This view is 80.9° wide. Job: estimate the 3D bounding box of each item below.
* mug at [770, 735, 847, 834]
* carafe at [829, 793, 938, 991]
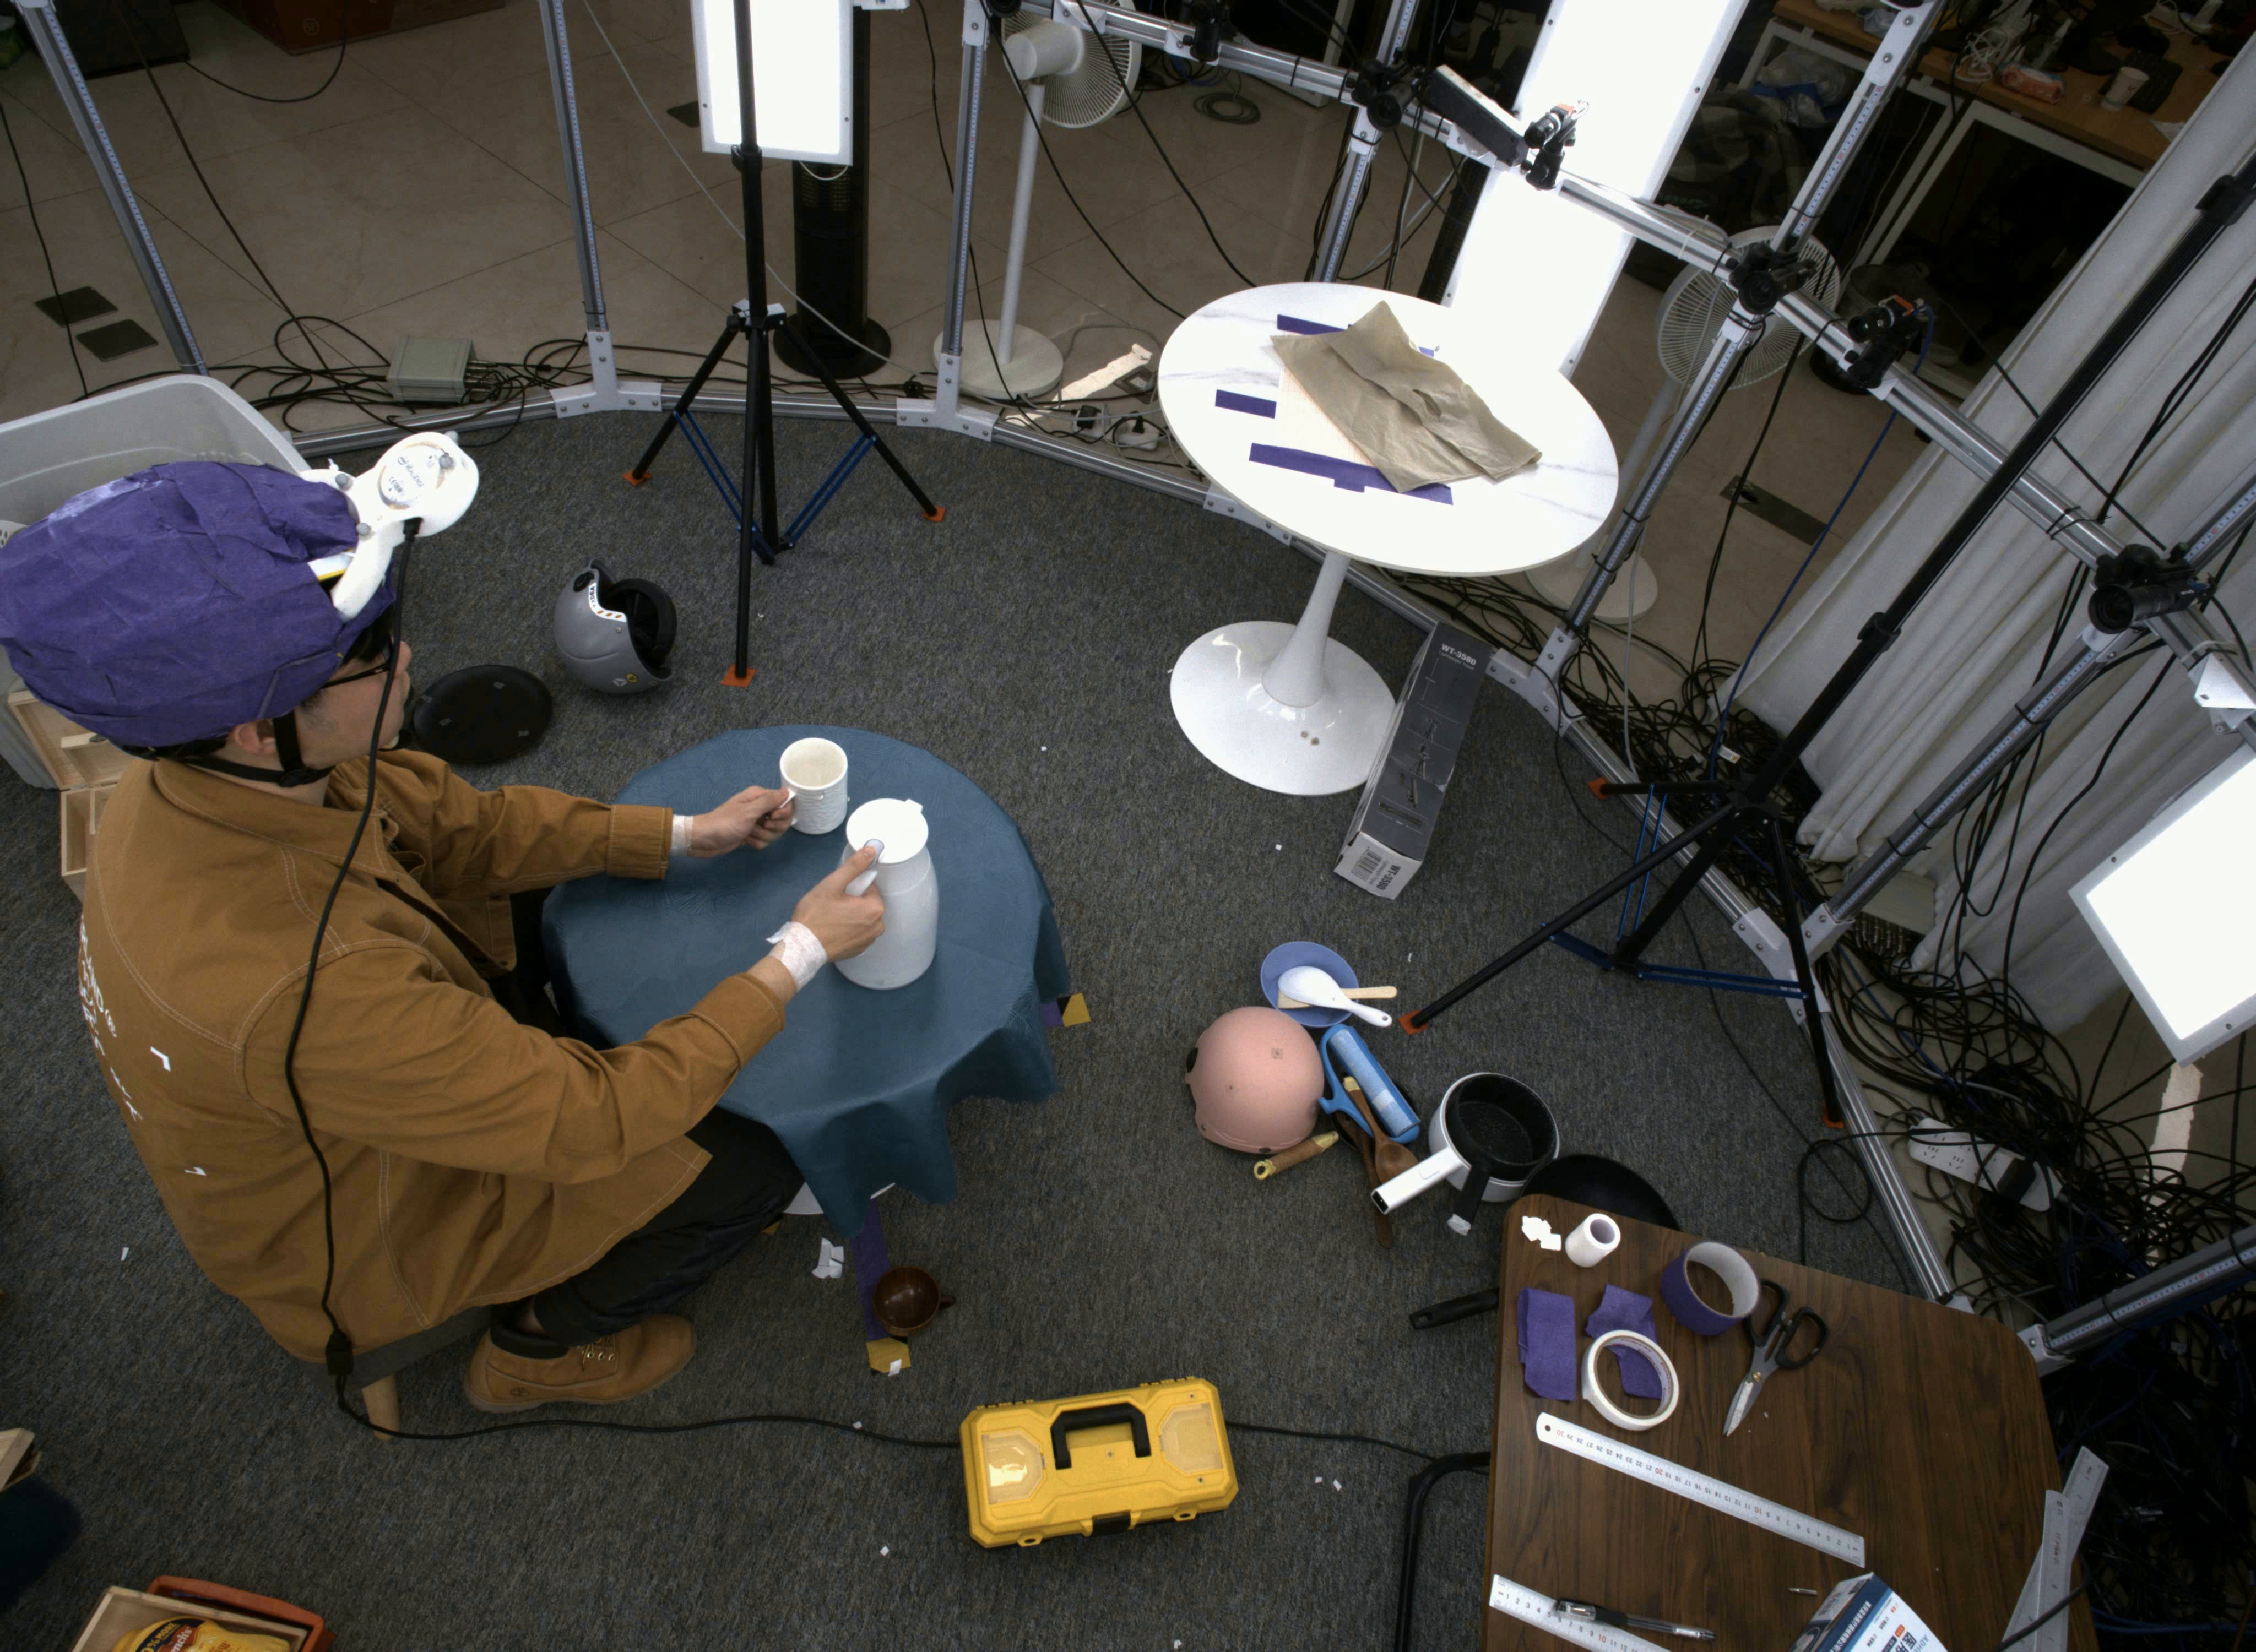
[{"bbox_3d":[-0.420,-0.043,1.687,0.083,0.104,0.118,31,52,12],"label":"mug"},{"bbox_3d":[-0.296,0.085,1.531,0.130,0.254,0.166,24,52,7],"label":"carafe"}]
